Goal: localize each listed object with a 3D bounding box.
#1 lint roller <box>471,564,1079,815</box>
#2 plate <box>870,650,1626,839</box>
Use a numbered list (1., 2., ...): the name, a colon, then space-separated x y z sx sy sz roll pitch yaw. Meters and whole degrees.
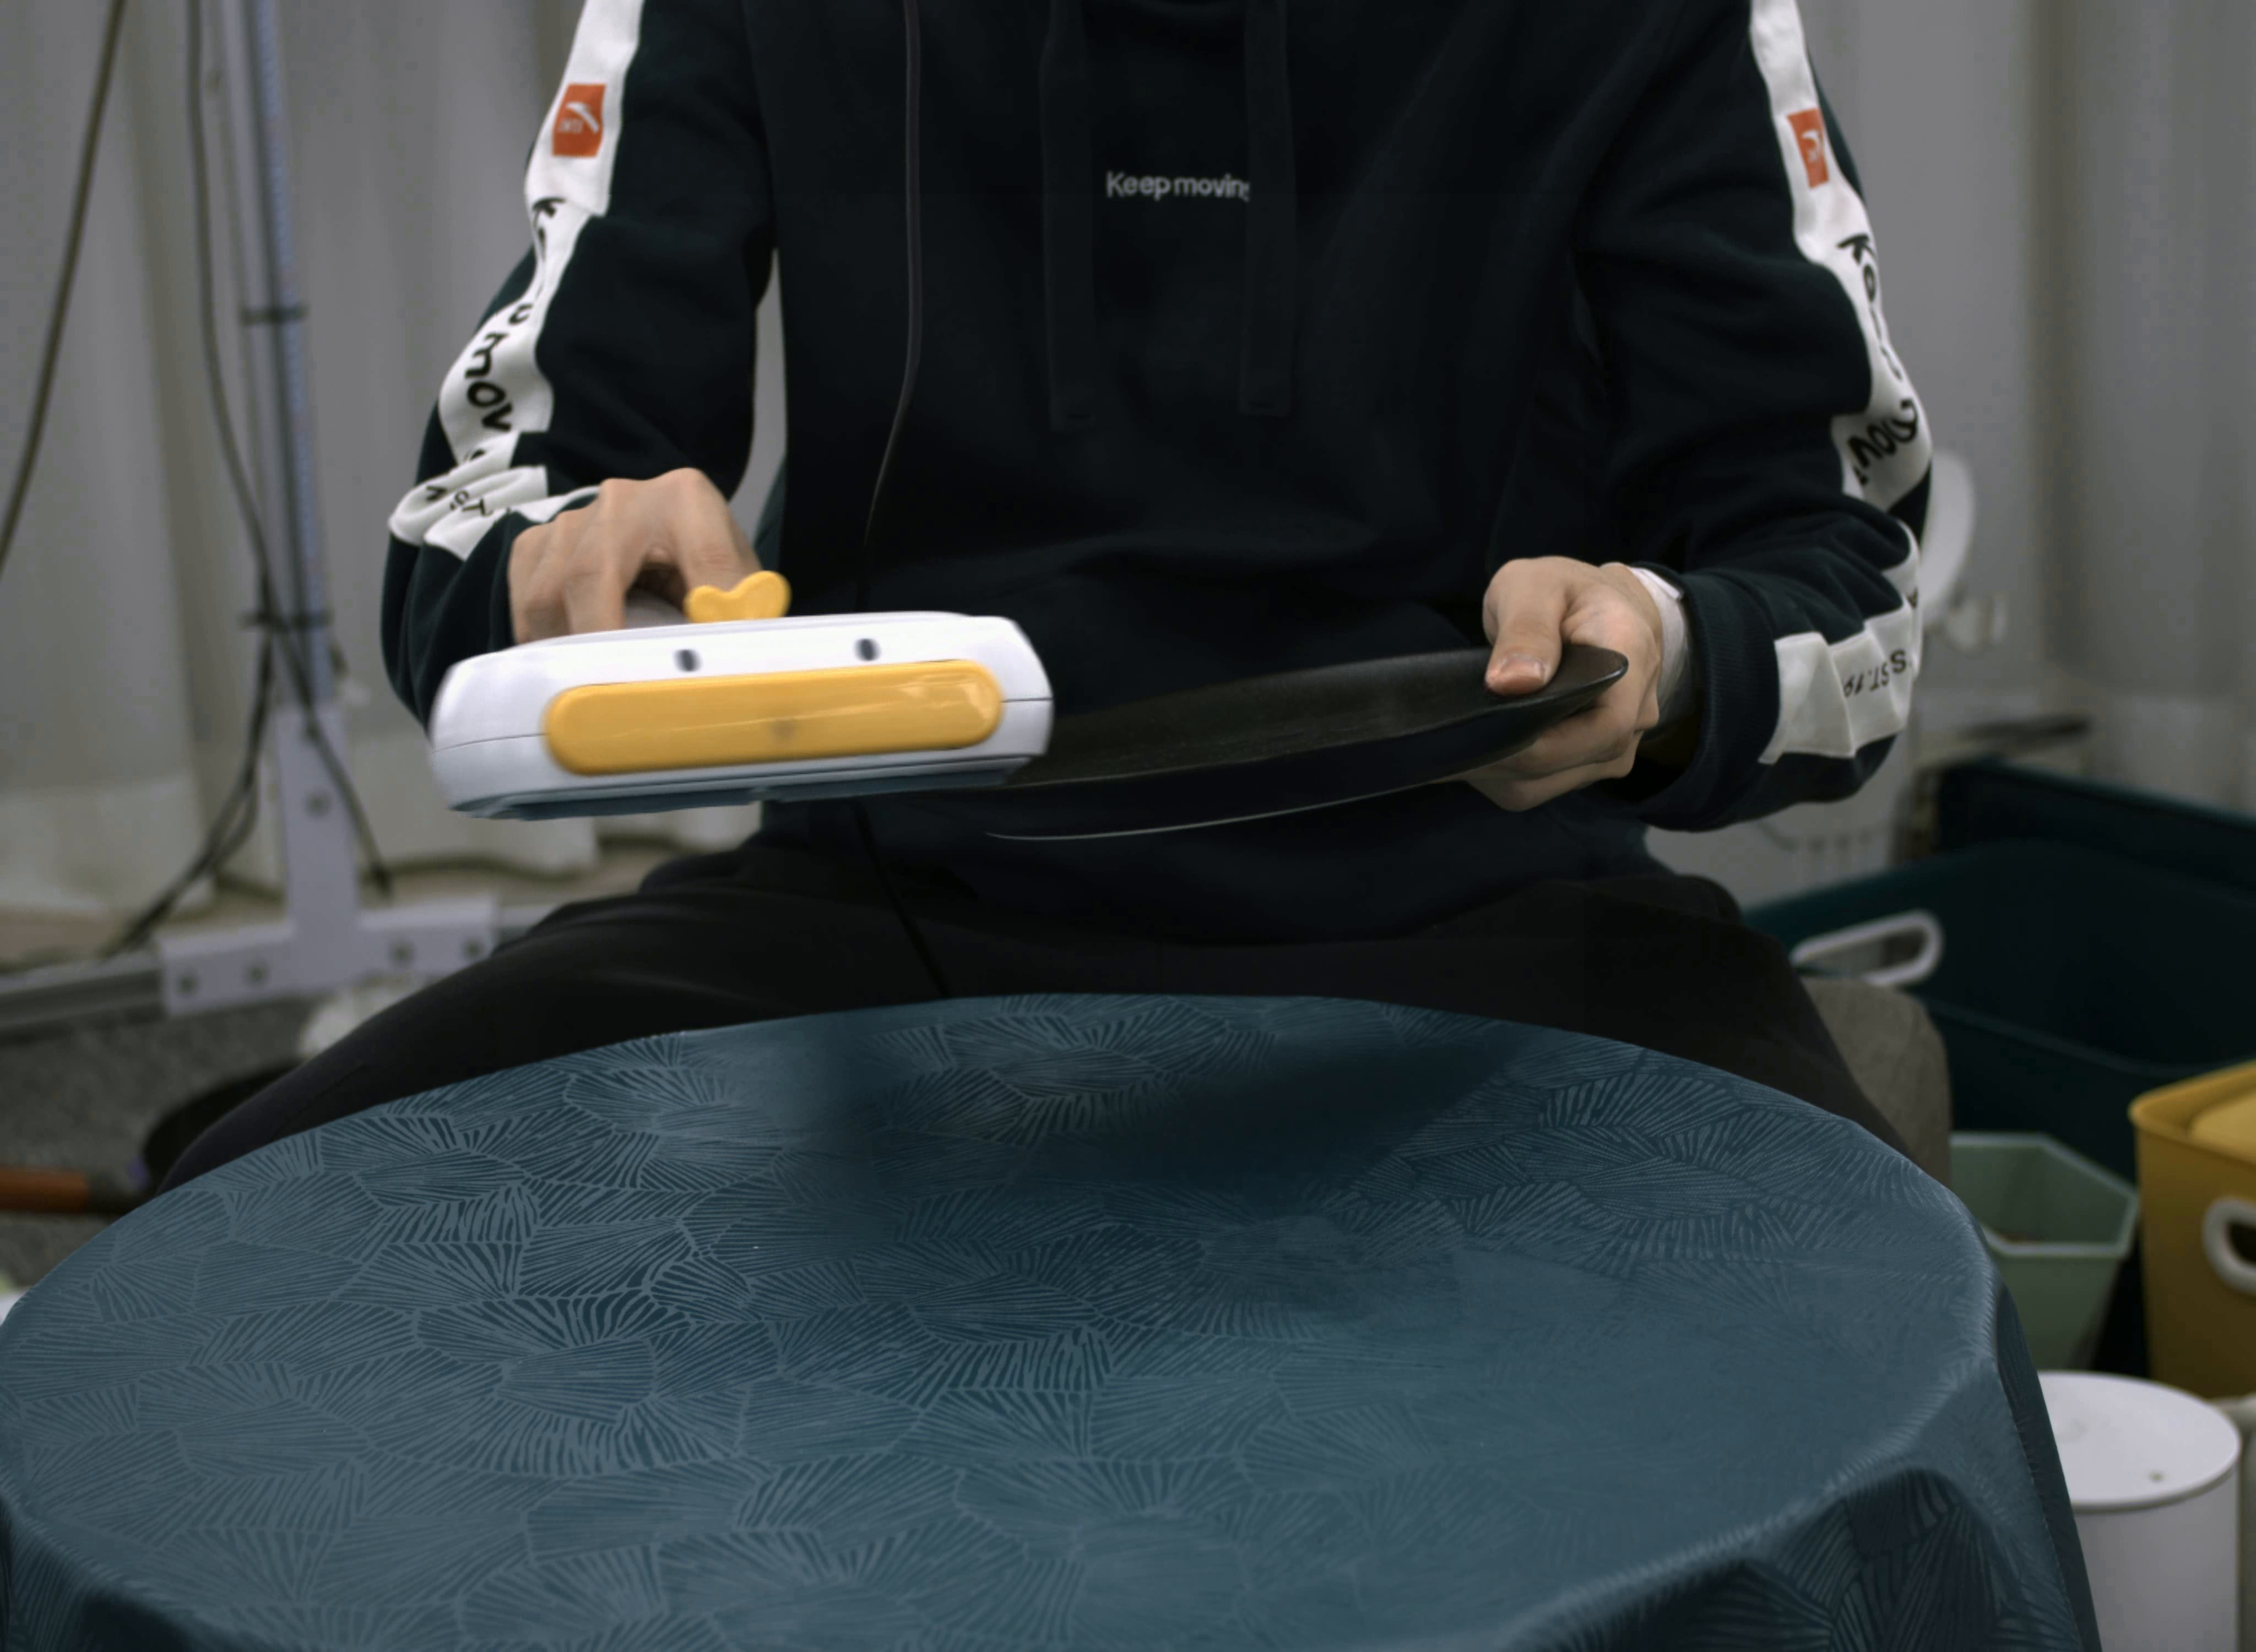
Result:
1. lint roller: -0.135 -0.044 1.733 0.192 0.074 0.193 -10 6 -26
2. plate: 0.039 -0.025 1.741 0.243 0.023 0.245 -9 6 1
